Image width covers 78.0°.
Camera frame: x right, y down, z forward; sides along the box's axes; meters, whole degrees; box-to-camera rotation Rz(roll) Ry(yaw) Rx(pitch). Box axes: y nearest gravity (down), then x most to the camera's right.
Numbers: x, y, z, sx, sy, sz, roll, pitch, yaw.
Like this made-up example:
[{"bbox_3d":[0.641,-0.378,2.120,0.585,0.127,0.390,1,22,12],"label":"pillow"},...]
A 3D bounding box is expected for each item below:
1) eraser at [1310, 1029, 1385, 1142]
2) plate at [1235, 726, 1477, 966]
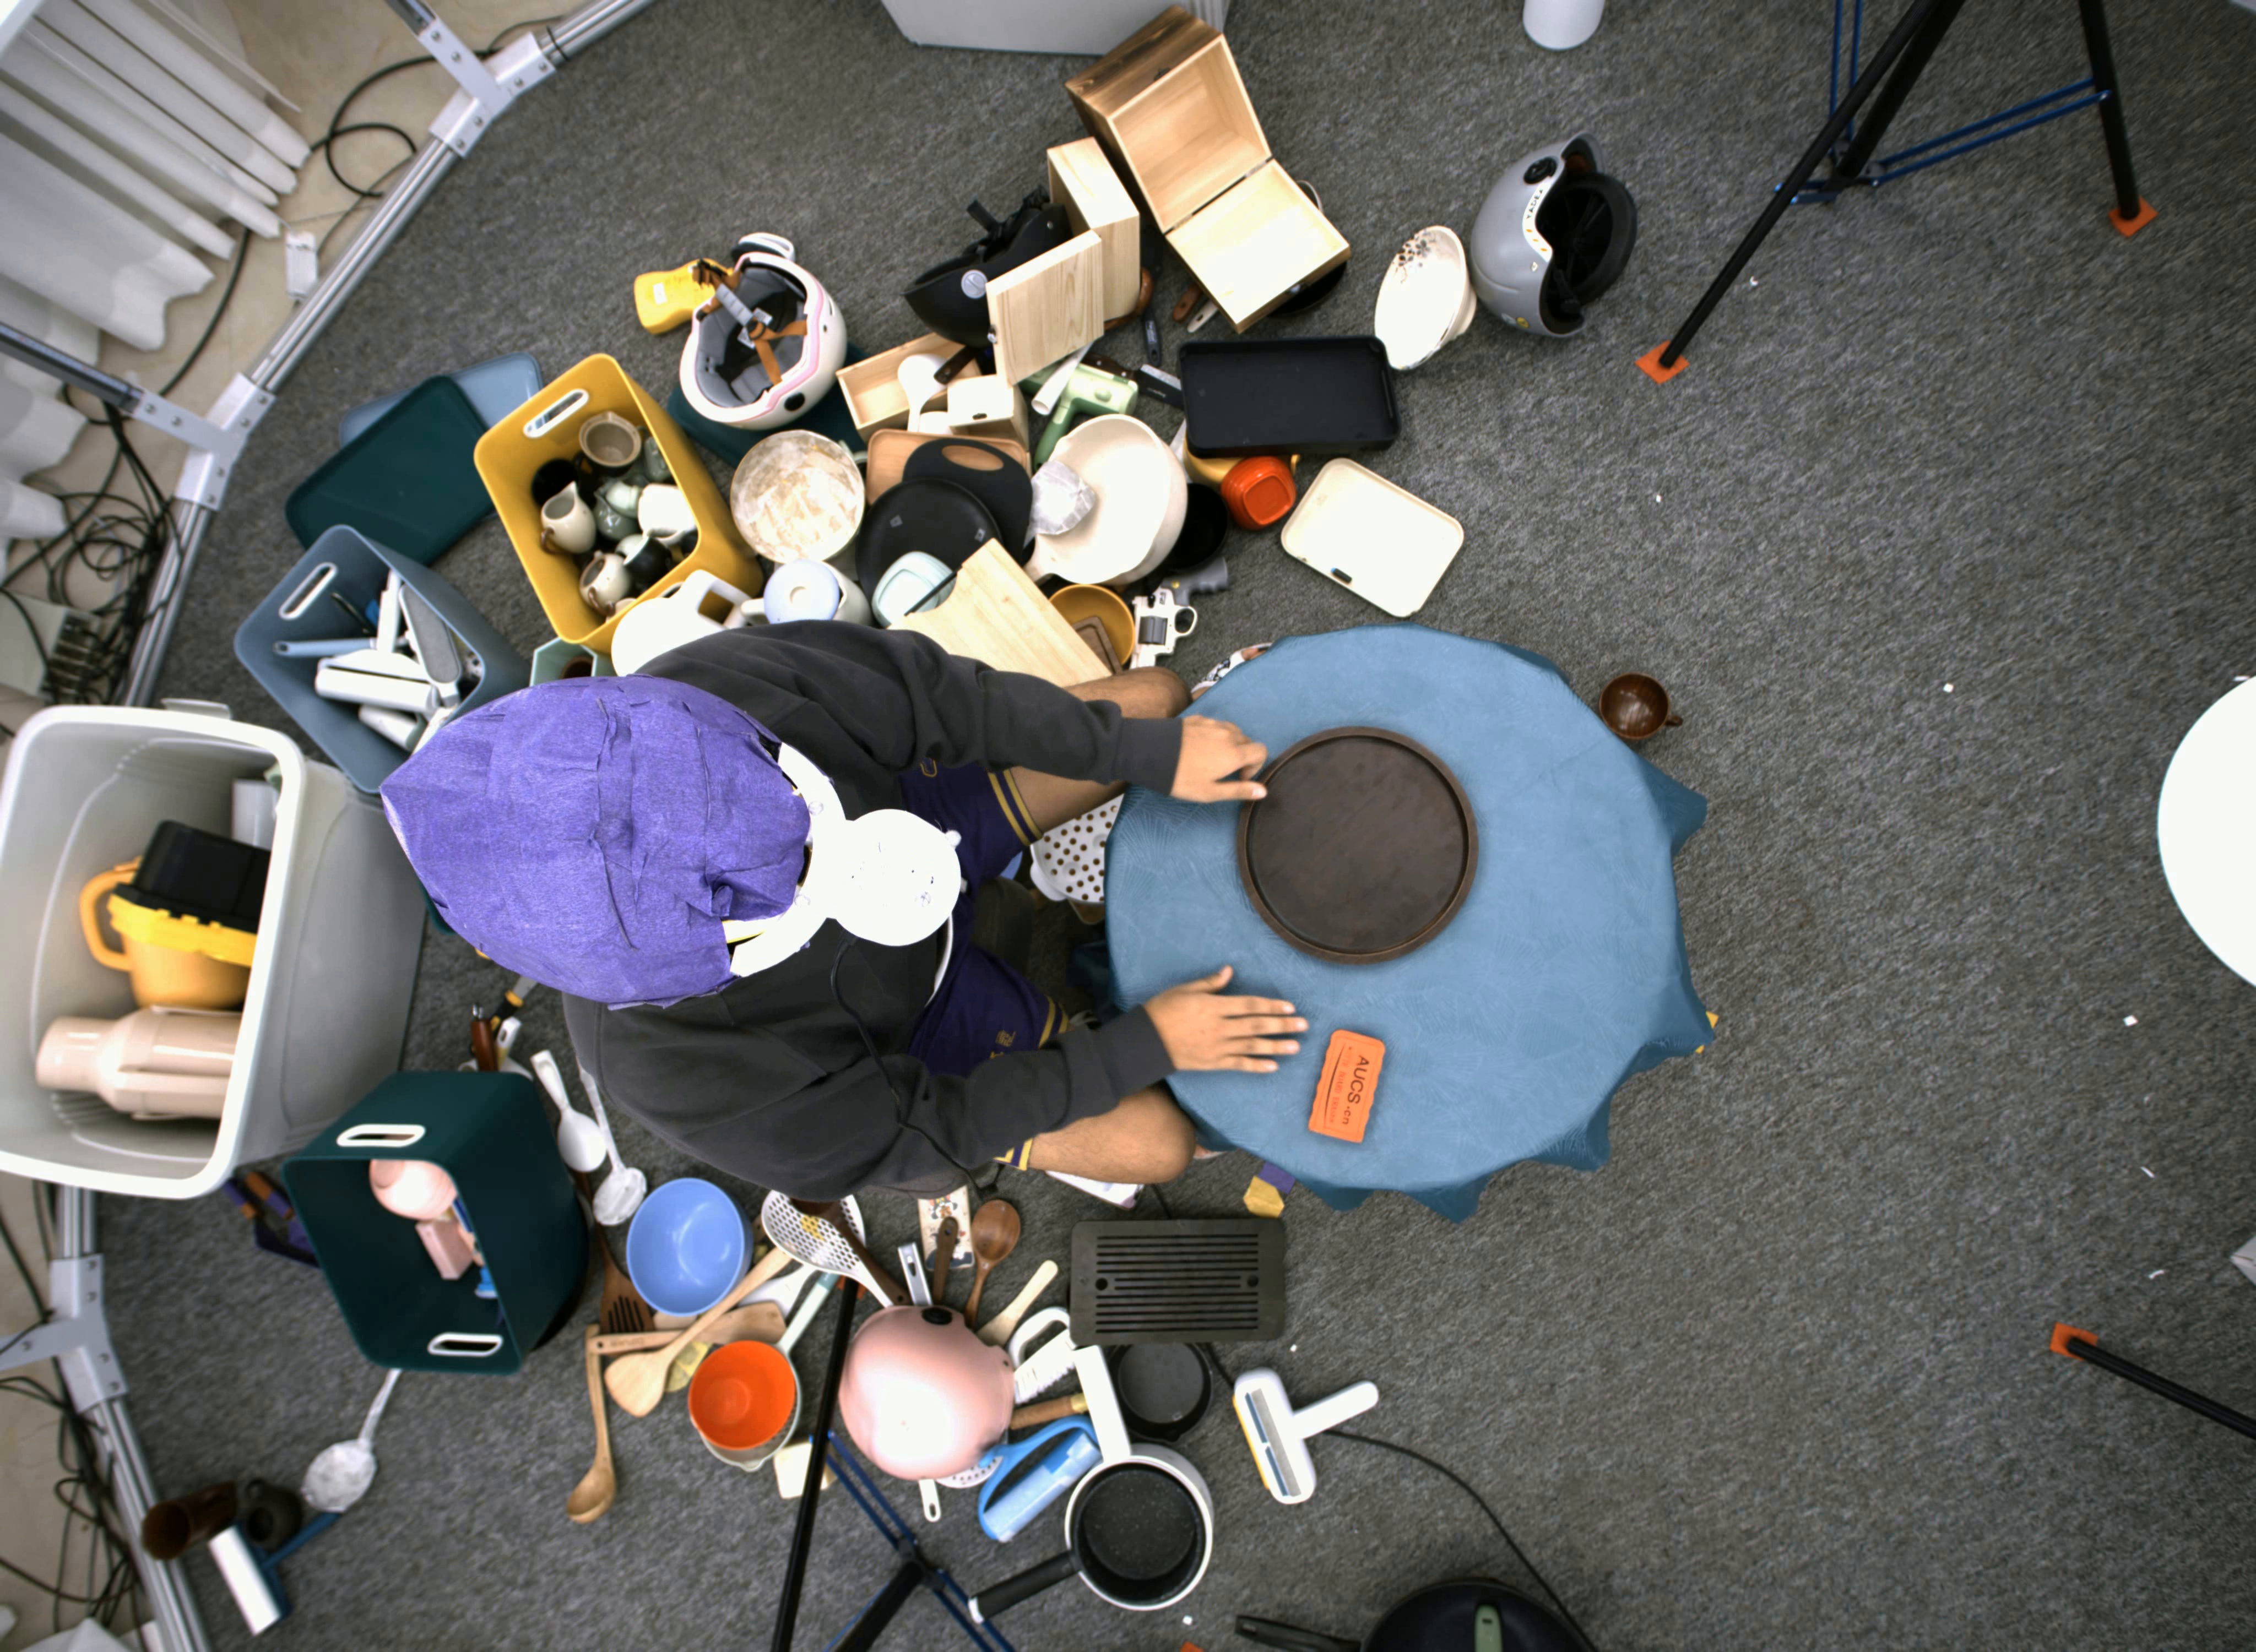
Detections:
[{"bbox_3d":[0.228,0.268,1.441,0.059,0.023,0.108,14,90,11],"label":"eraser"},{"bbox_3d":[0.239,0.019,1.457,0.256,0.029,0.254,-1,88,10],"label":"plate"}]
